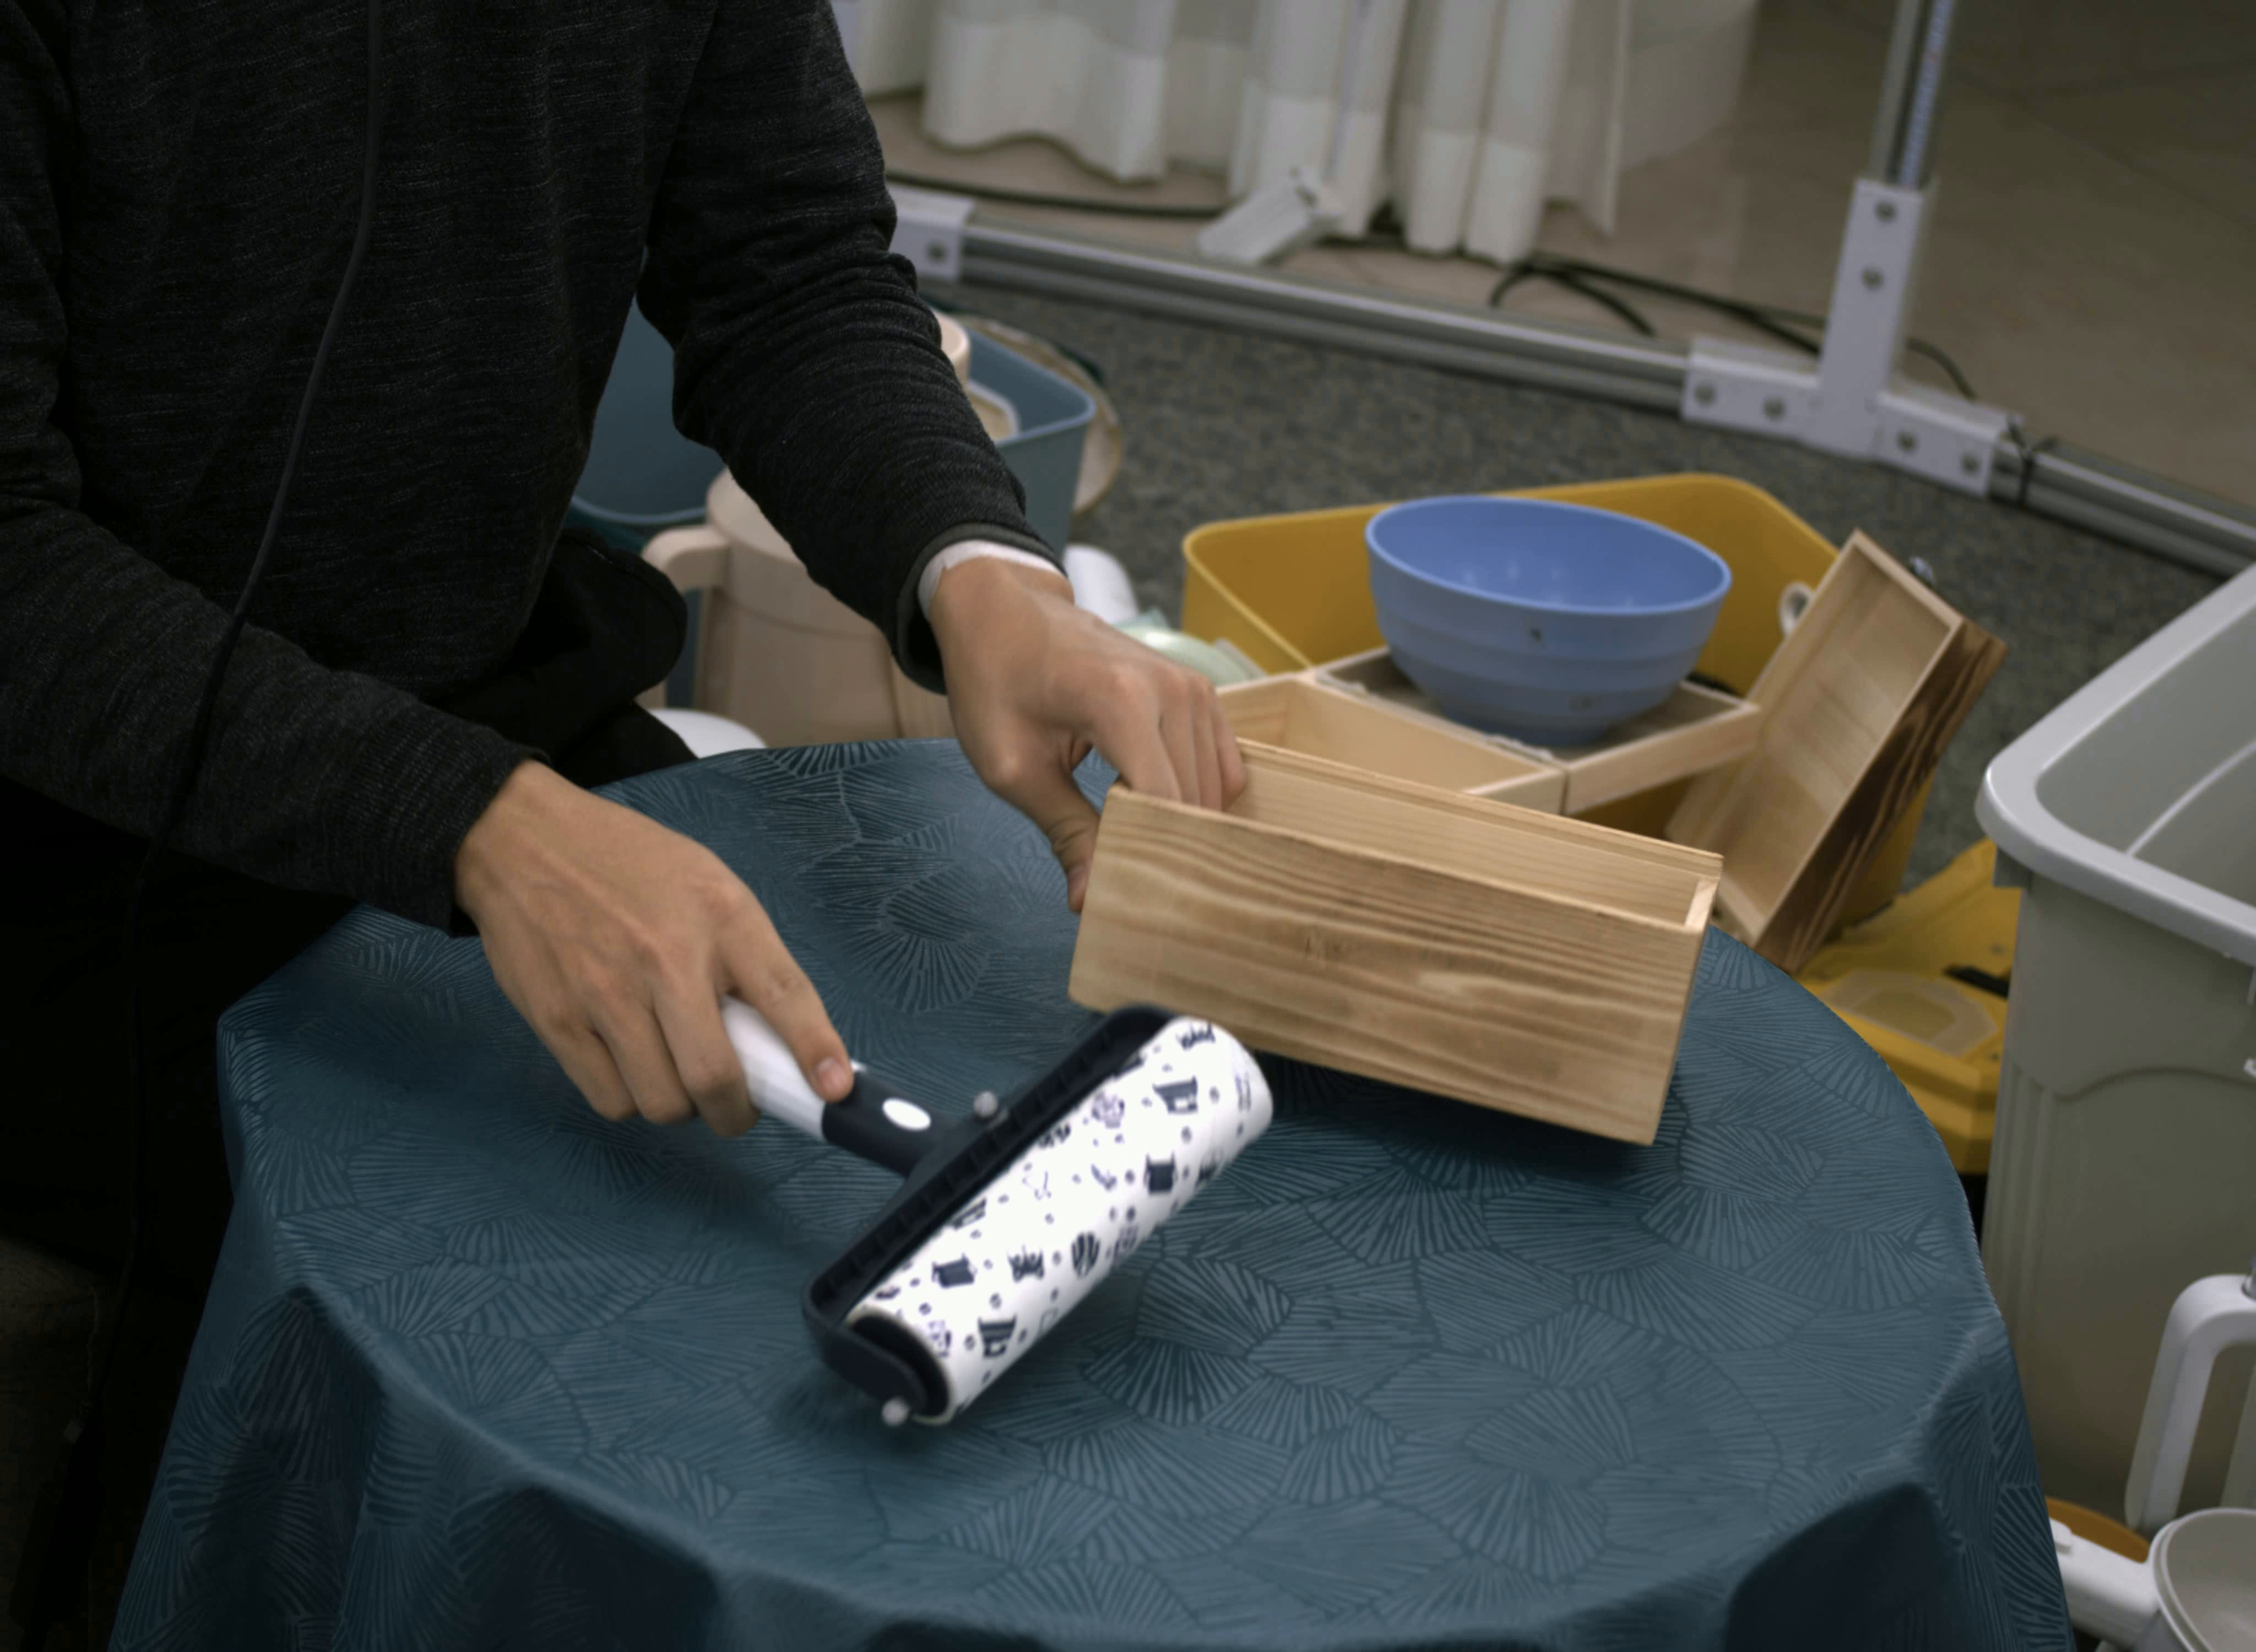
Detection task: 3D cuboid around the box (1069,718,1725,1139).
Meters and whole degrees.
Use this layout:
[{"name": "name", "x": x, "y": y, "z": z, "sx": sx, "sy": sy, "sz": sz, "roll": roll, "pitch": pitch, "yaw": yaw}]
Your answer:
[{"name": "box", "x": 0.096, "y": 0.034, "z": 1.876, "sx": 0.211, "sy": 0.080, "sz": 0.107, "roll": 14, "pitch": 15, "yaw": 7}]

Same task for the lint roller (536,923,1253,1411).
[{"name": "lint roller", "x": -0.103, "y": 0.081, "z": 1.740, "sx": 0.248, "sy": 0.050, "sz": 0.176, "roll": 24, "pitch": 55, "yaw": 31}]
